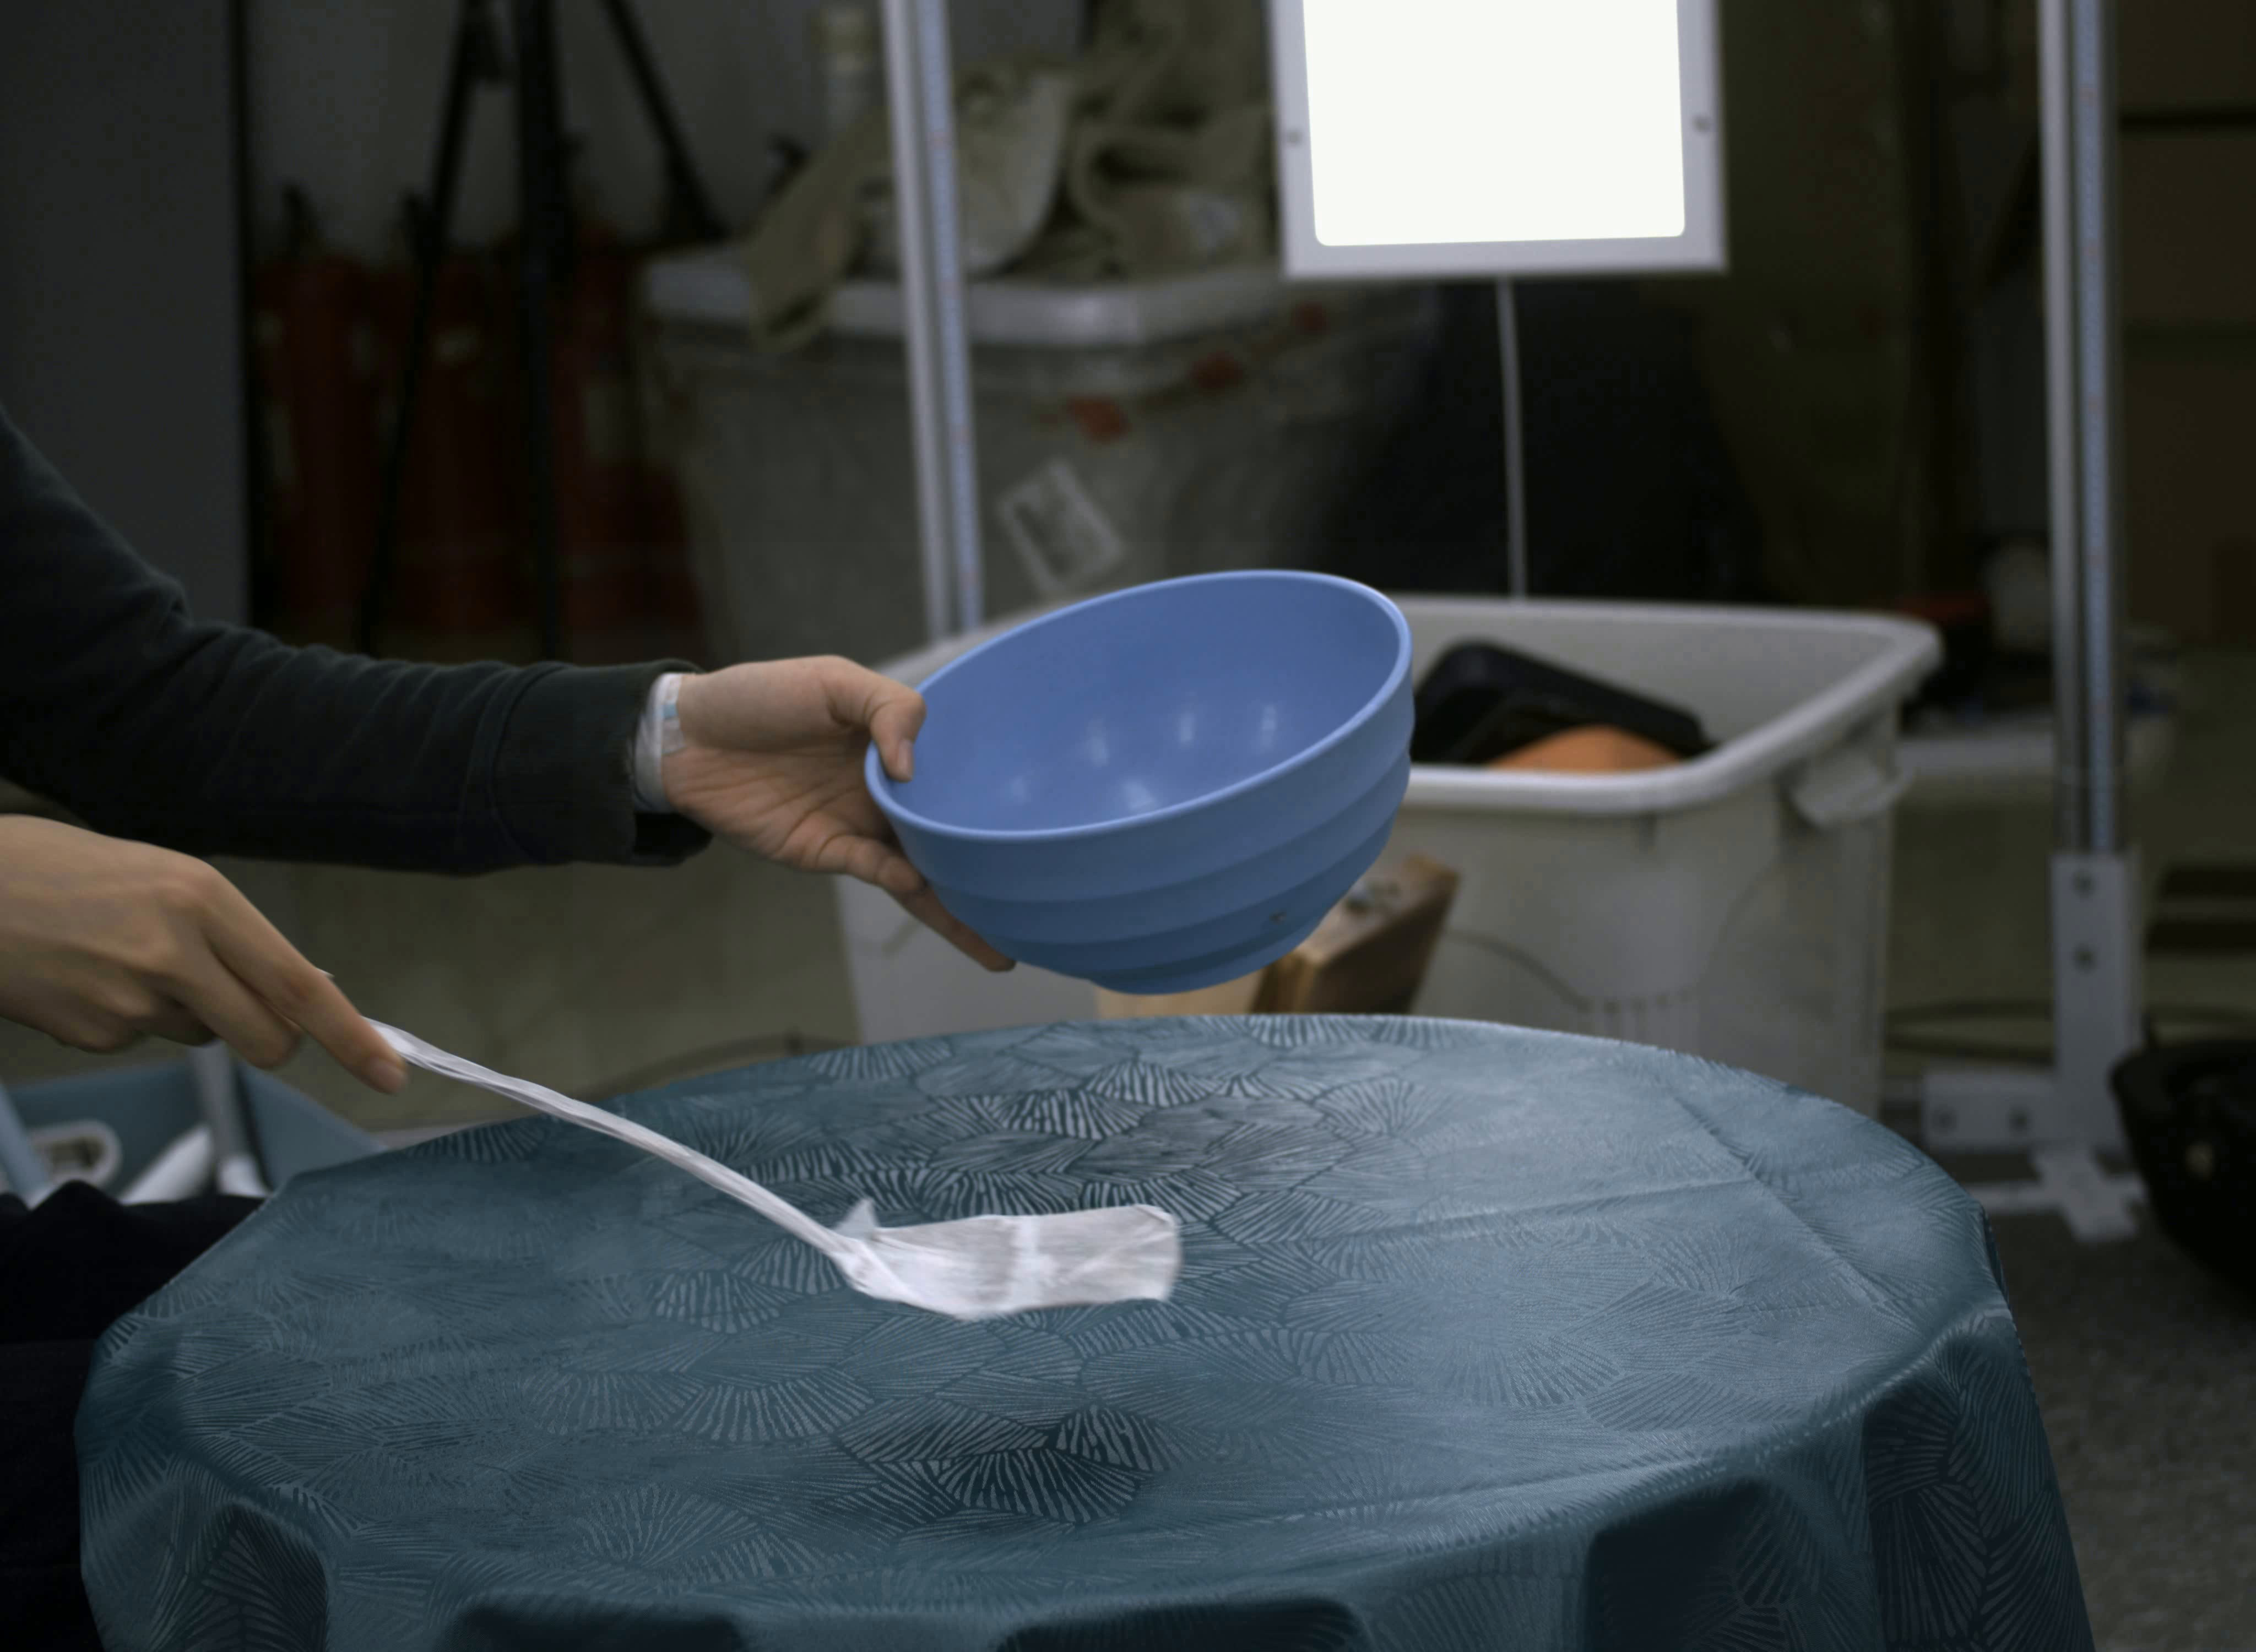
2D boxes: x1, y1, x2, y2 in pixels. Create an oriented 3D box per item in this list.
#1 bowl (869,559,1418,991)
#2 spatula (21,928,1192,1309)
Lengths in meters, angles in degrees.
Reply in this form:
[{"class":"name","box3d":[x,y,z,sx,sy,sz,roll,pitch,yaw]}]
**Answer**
[{"class":"bowl","box3d":[0.015,-0.006,1.923,0.197,0.095,0.196,-14,27,6]},{"class":"spatula","box3d":[-0.159,0.081,1.649,0.365,0.045,0.098,21,15,3]}]
